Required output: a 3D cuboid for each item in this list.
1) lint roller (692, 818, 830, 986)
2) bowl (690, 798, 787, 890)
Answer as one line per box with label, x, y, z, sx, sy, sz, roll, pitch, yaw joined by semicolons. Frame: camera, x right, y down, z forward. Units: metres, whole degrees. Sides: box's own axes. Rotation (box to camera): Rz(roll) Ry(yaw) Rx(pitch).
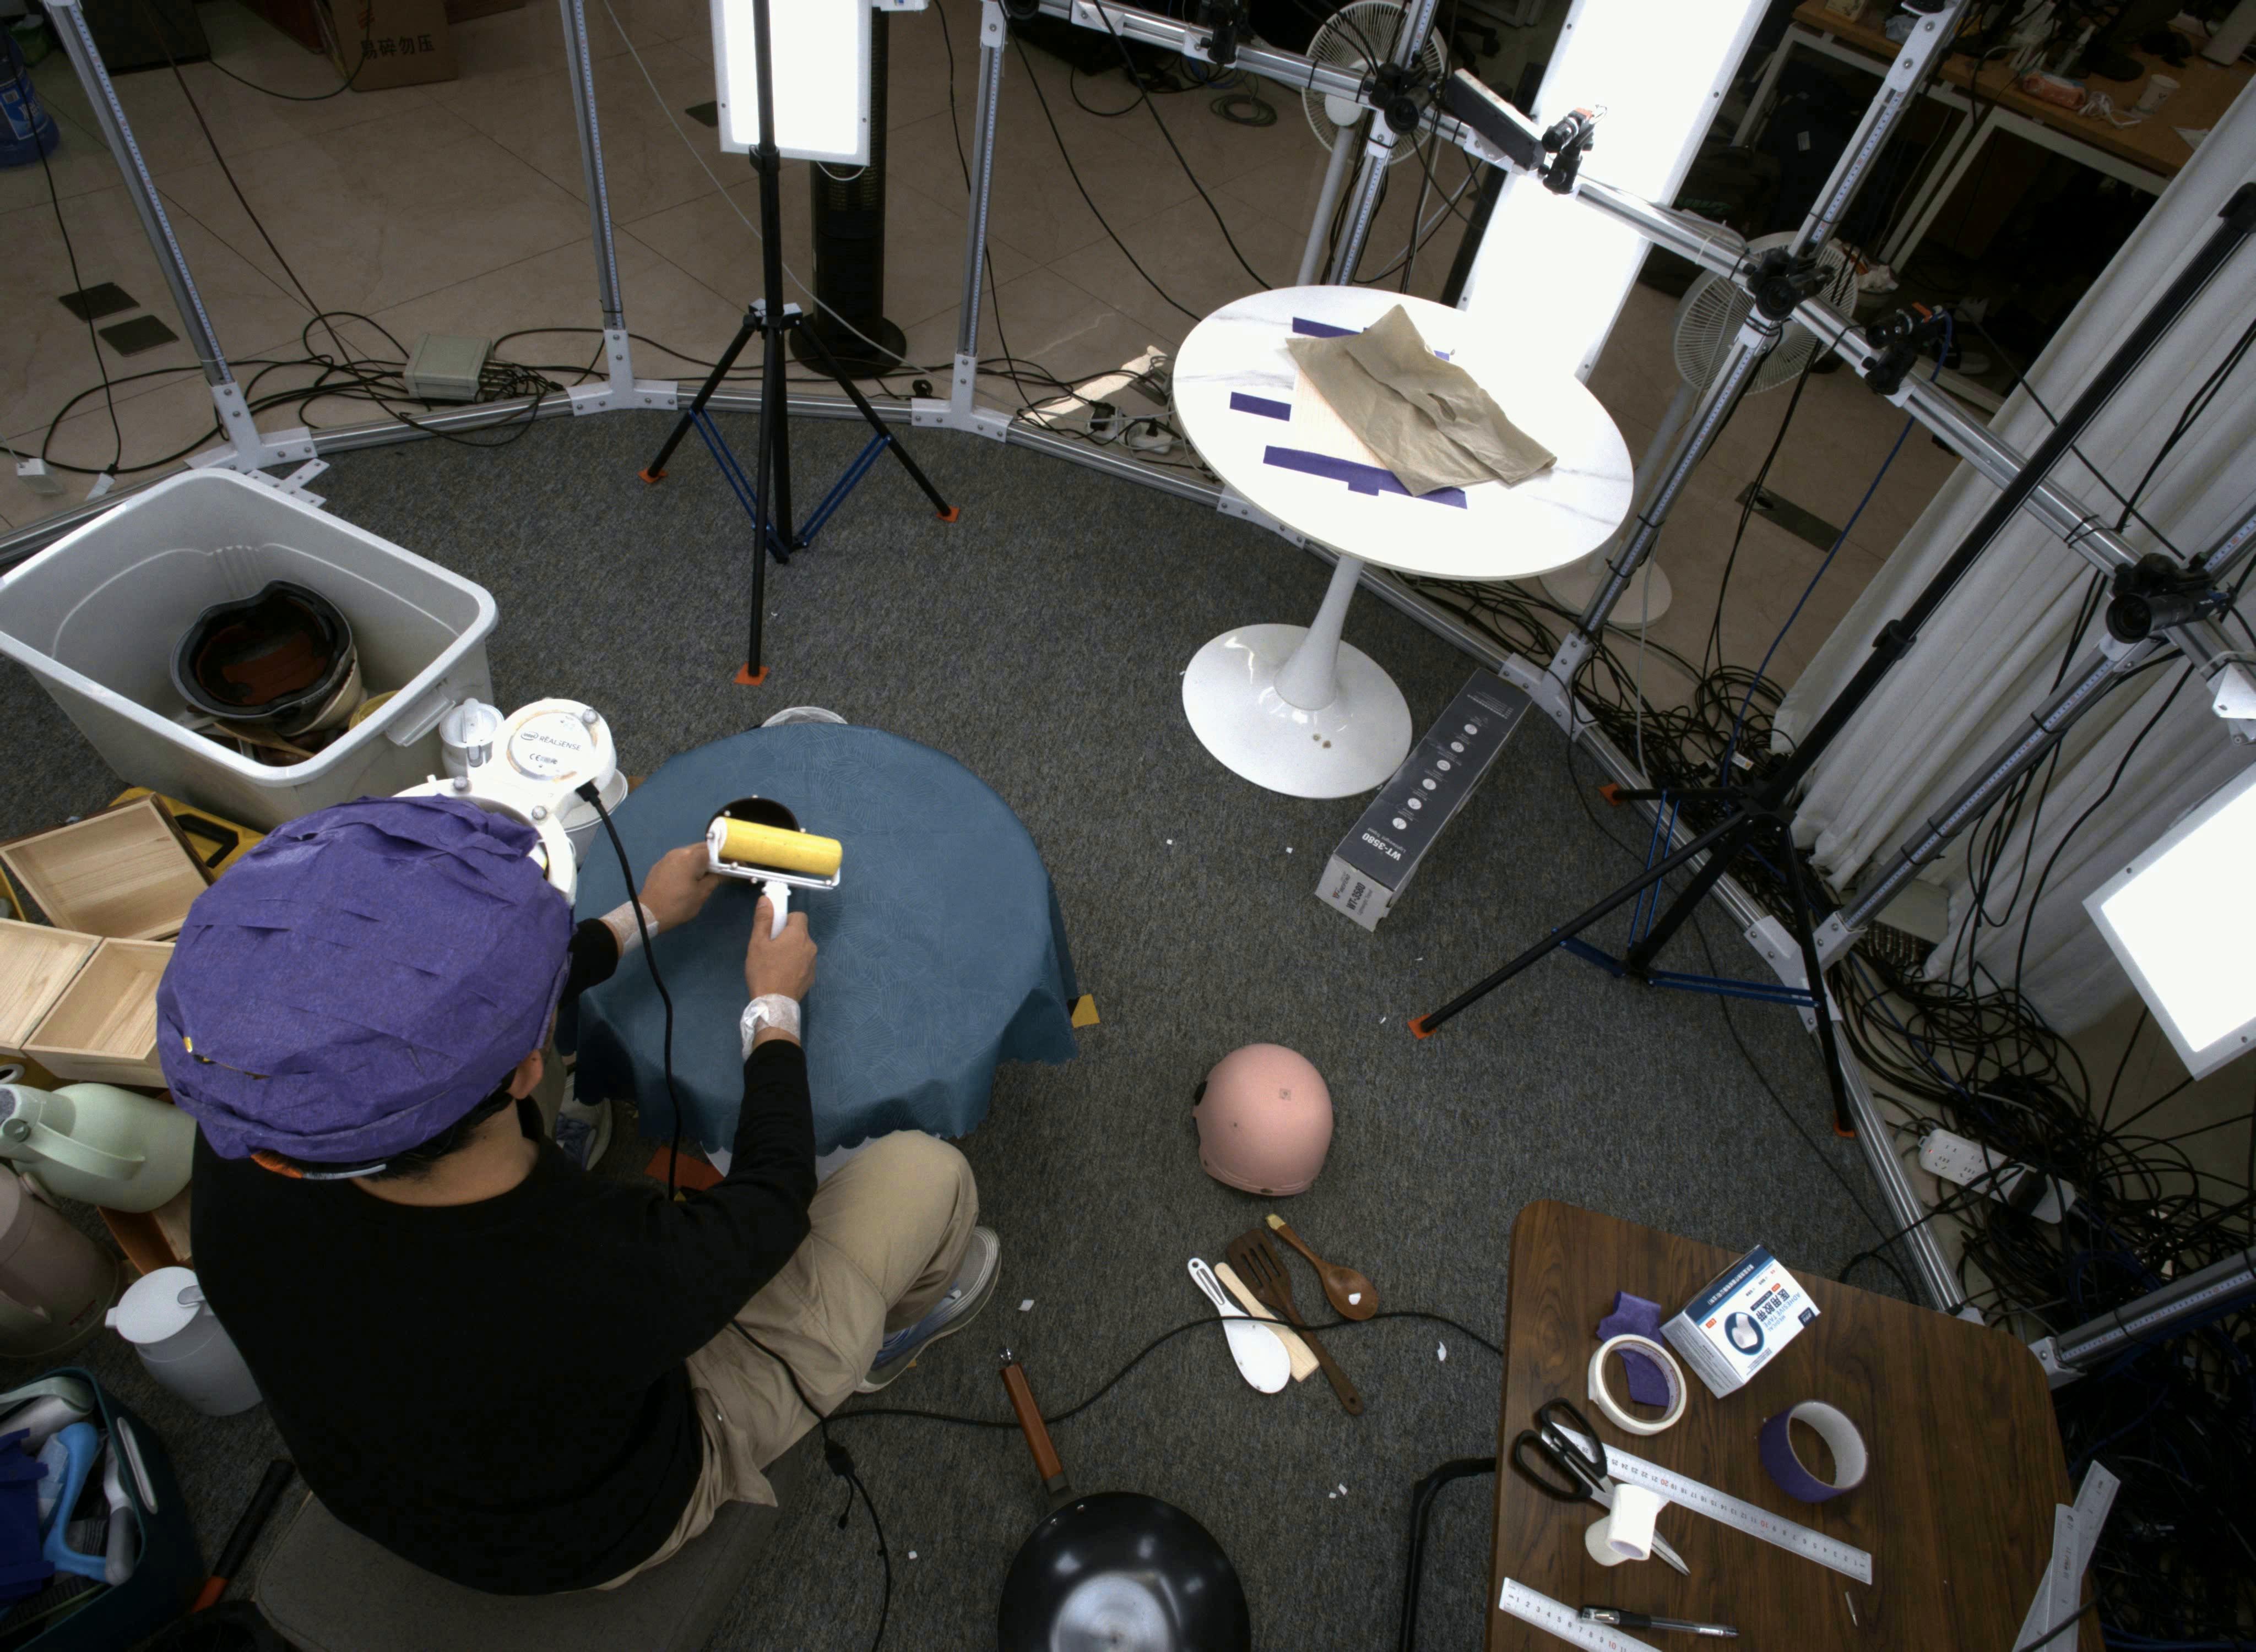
lint roller;-0.422;0.089;1.531;0.179;0.051;0.189;11;55;-48
bowl;-0.488;0.029;1.630;0.117;0.071;0.116;5;53;-5
